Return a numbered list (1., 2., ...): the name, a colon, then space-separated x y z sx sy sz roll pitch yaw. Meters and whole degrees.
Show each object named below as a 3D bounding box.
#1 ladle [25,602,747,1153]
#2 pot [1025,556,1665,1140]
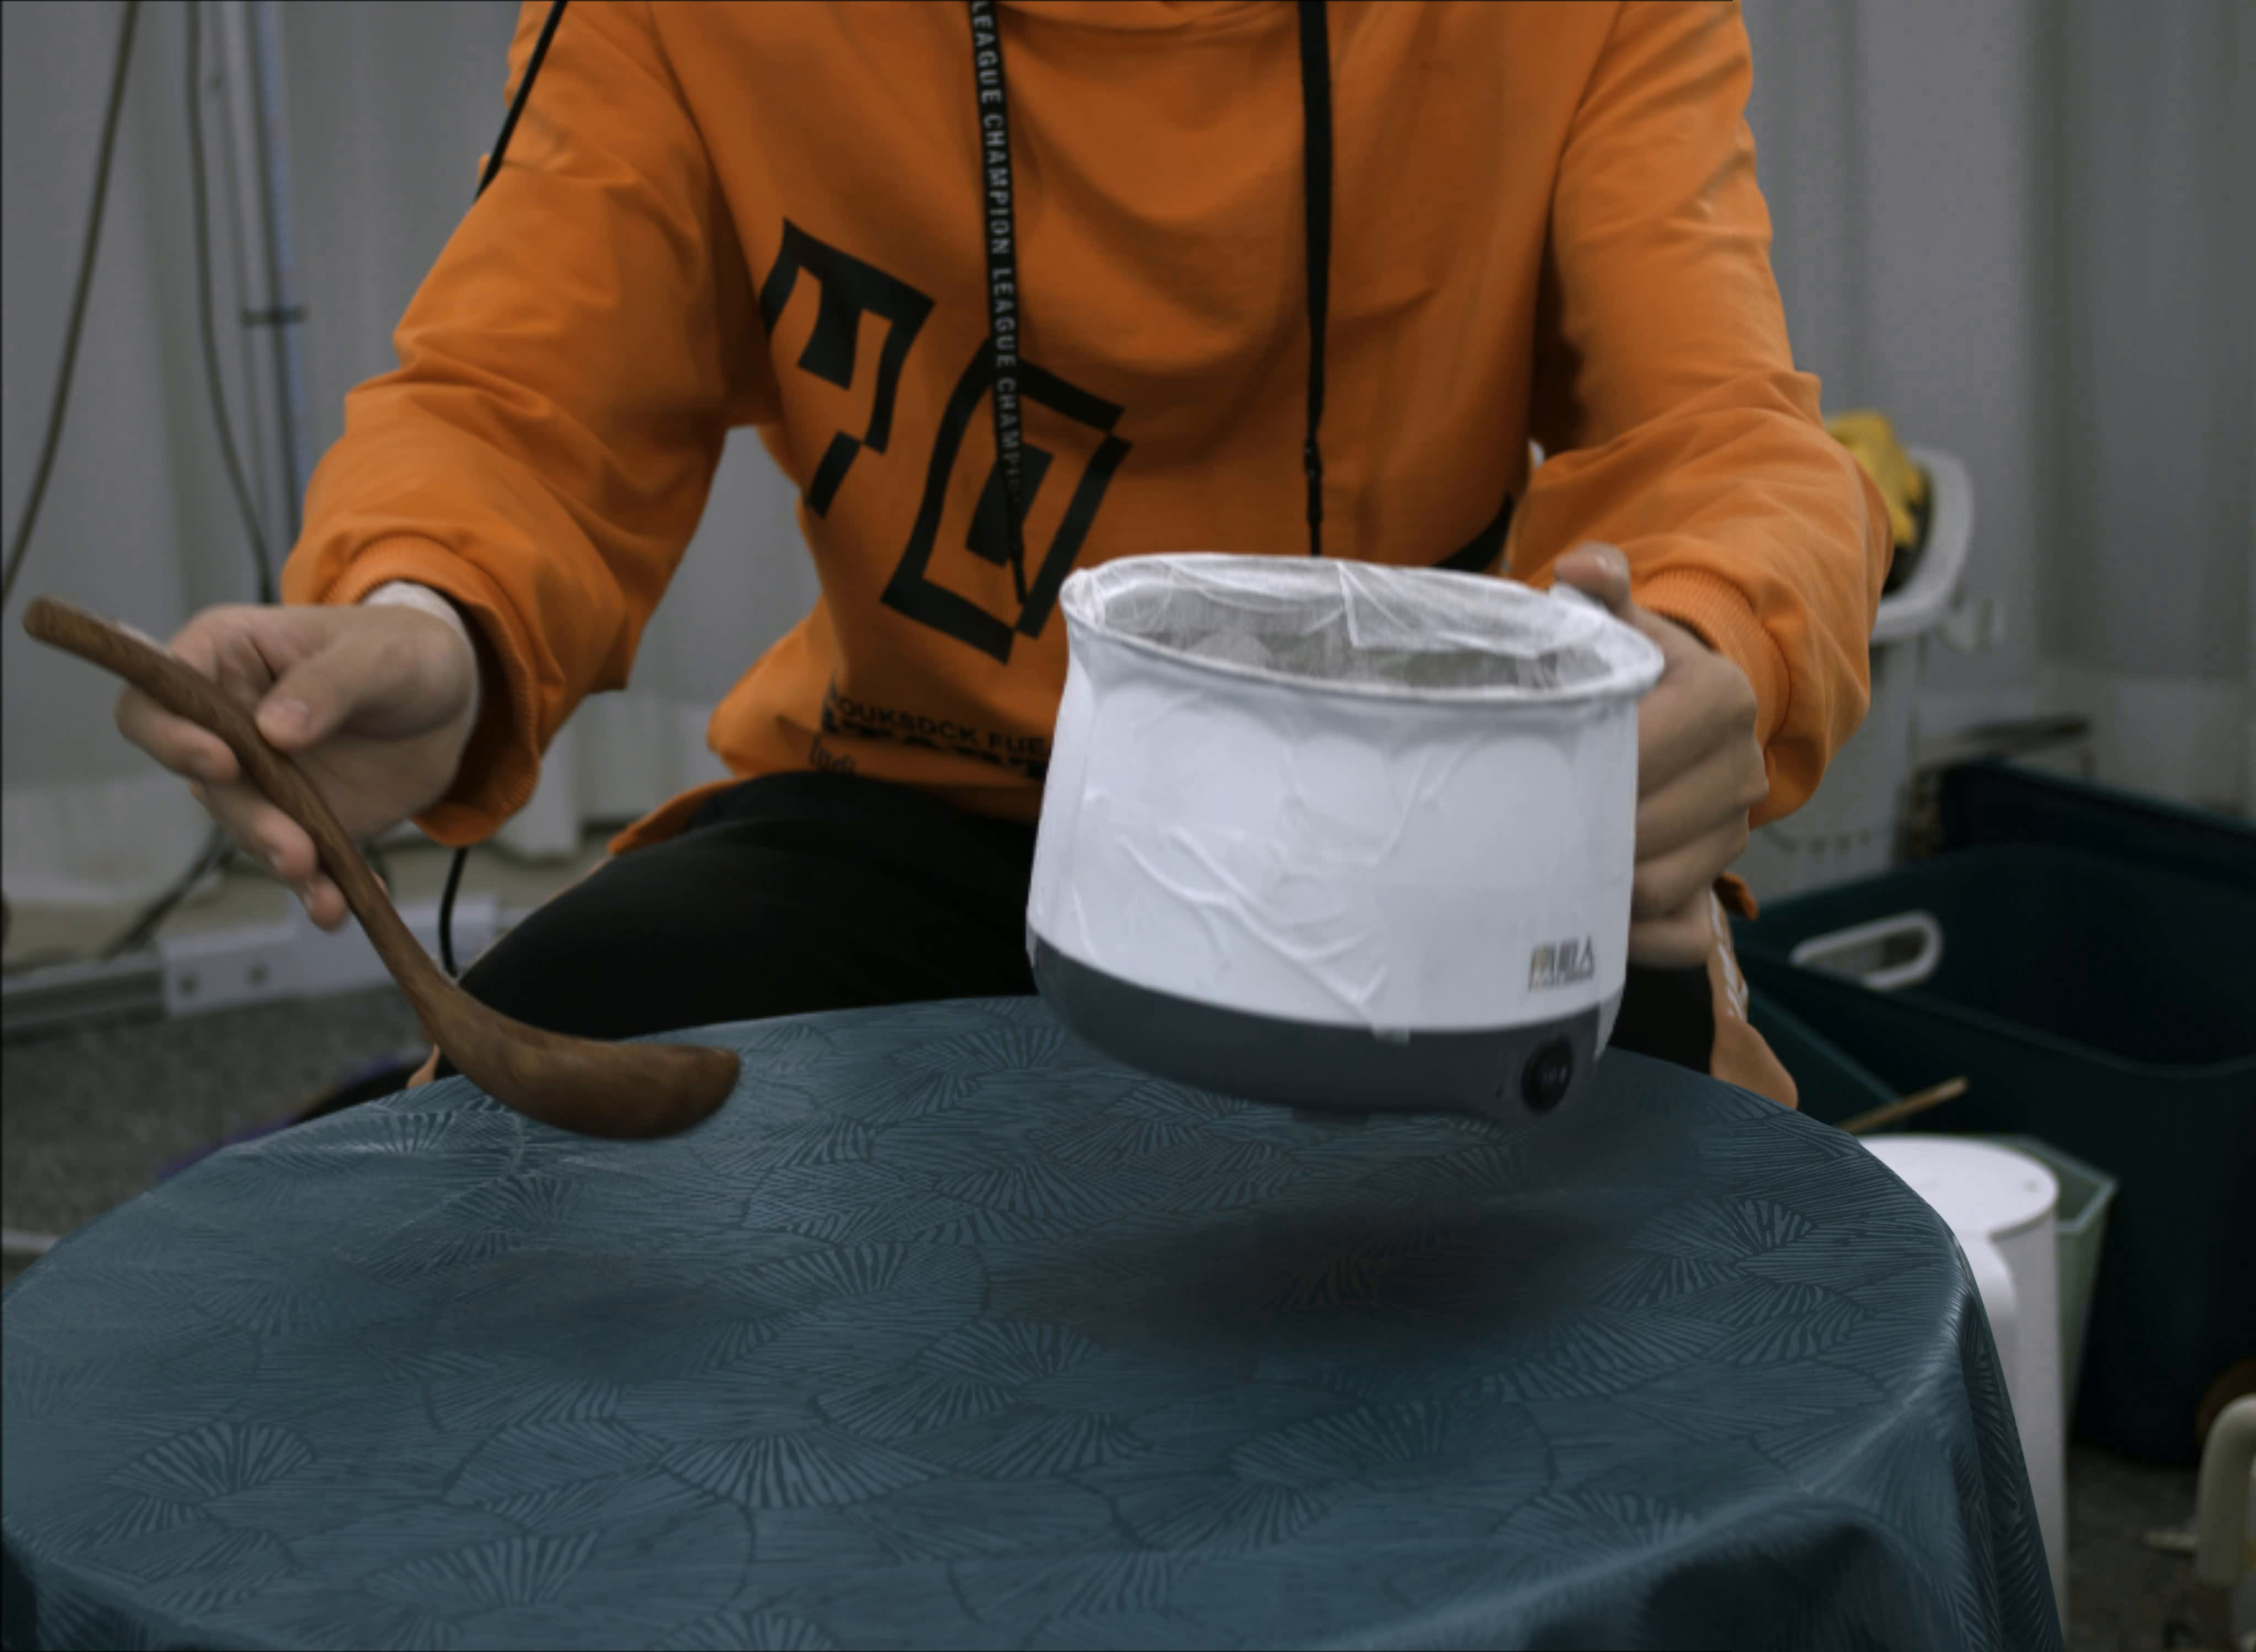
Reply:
1. ladle: -0.221 0.007 1.637 0.065 0.261 0.076 -45 -8 1
2. pot: 0.079 0.001 1.618 0.180 0.136 0.233 18 18 38
